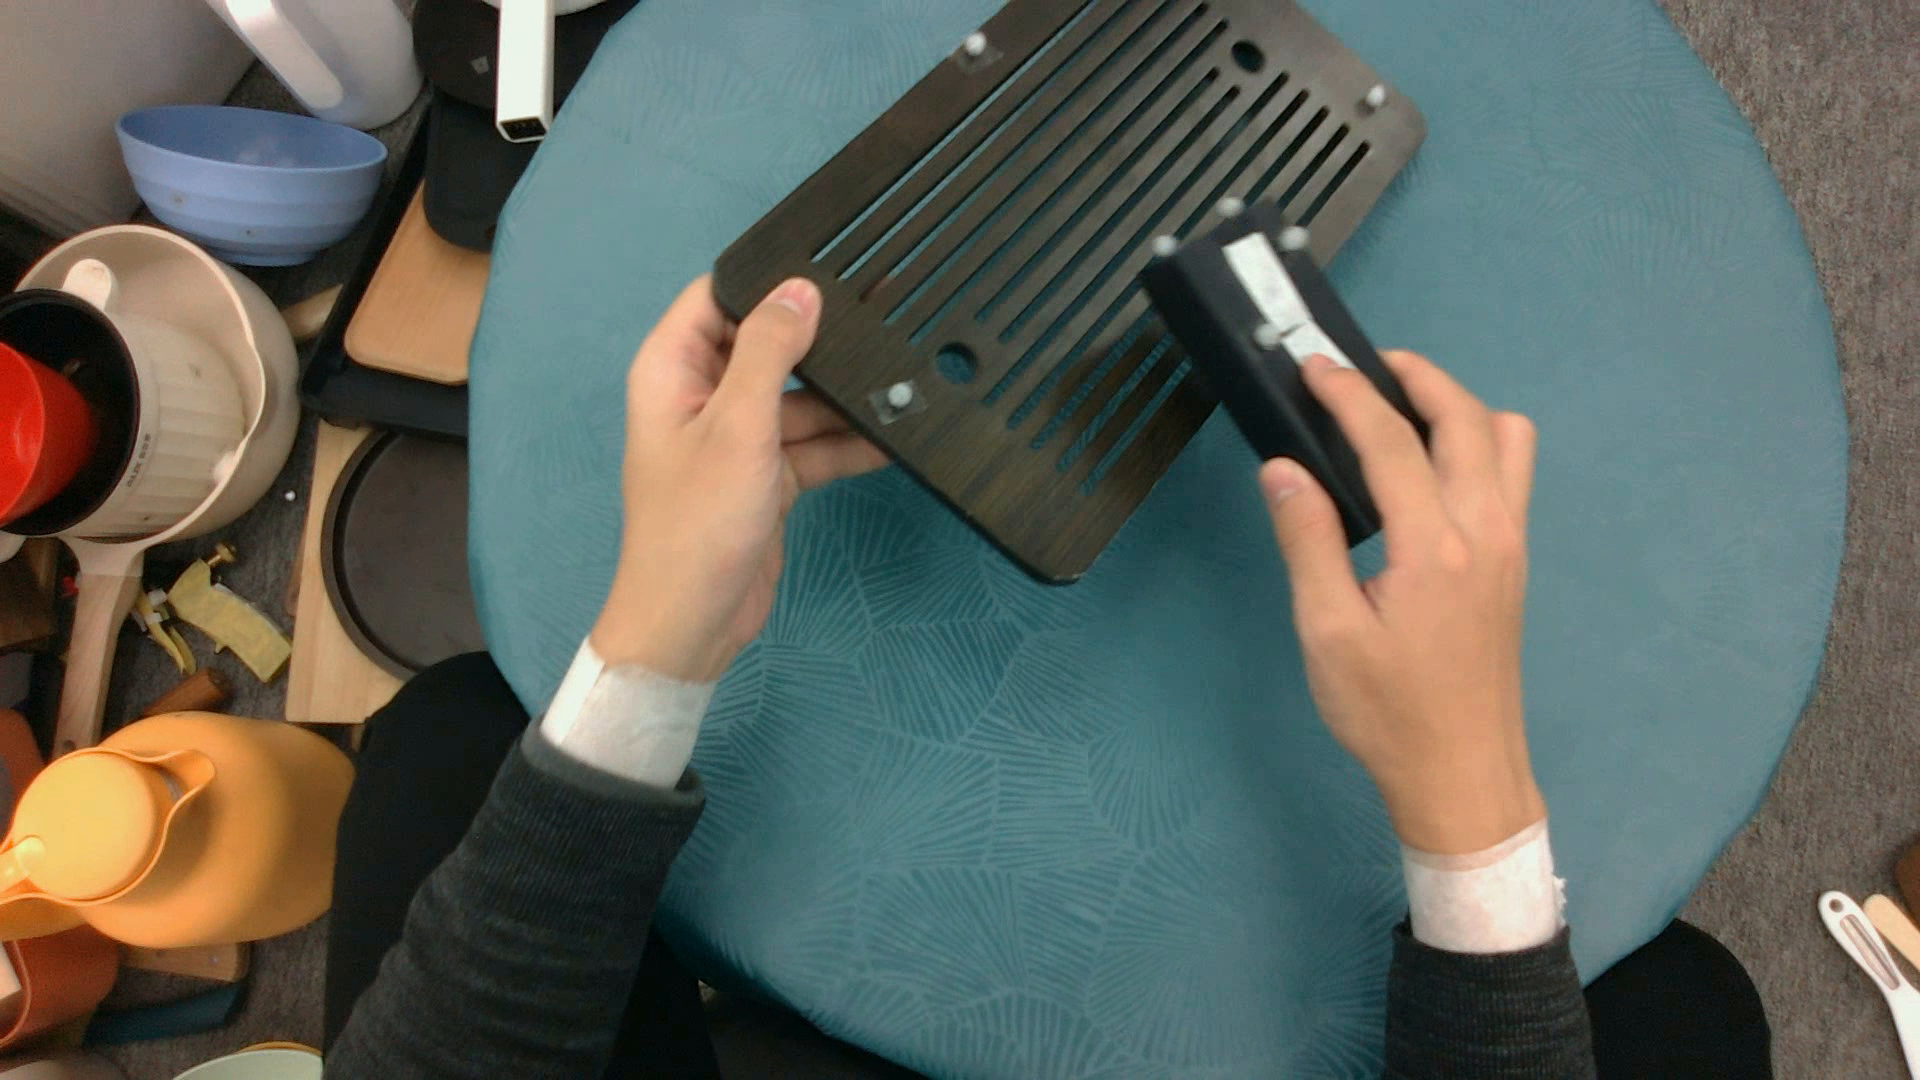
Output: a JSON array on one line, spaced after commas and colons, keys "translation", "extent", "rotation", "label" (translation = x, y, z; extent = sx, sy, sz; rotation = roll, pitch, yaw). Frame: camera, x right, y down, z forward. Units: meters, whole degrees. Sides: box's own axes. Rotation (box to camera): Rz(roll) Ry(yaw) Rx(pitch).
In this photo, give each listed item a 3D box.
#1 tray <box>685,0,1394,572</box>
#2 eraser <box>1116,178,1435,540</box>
[{"translation": [0.048, -0.136, 0.550], "extent": [0.170, 0.018, 0.307], "rotation": [40, 59, 2], "label": "tray"}, {"translation": [0.112, -0.064, 0.493], "extent": [0.054, 0.030, 0.125], "rotation": [-36, 90, -24], "label": "eraser"}]
